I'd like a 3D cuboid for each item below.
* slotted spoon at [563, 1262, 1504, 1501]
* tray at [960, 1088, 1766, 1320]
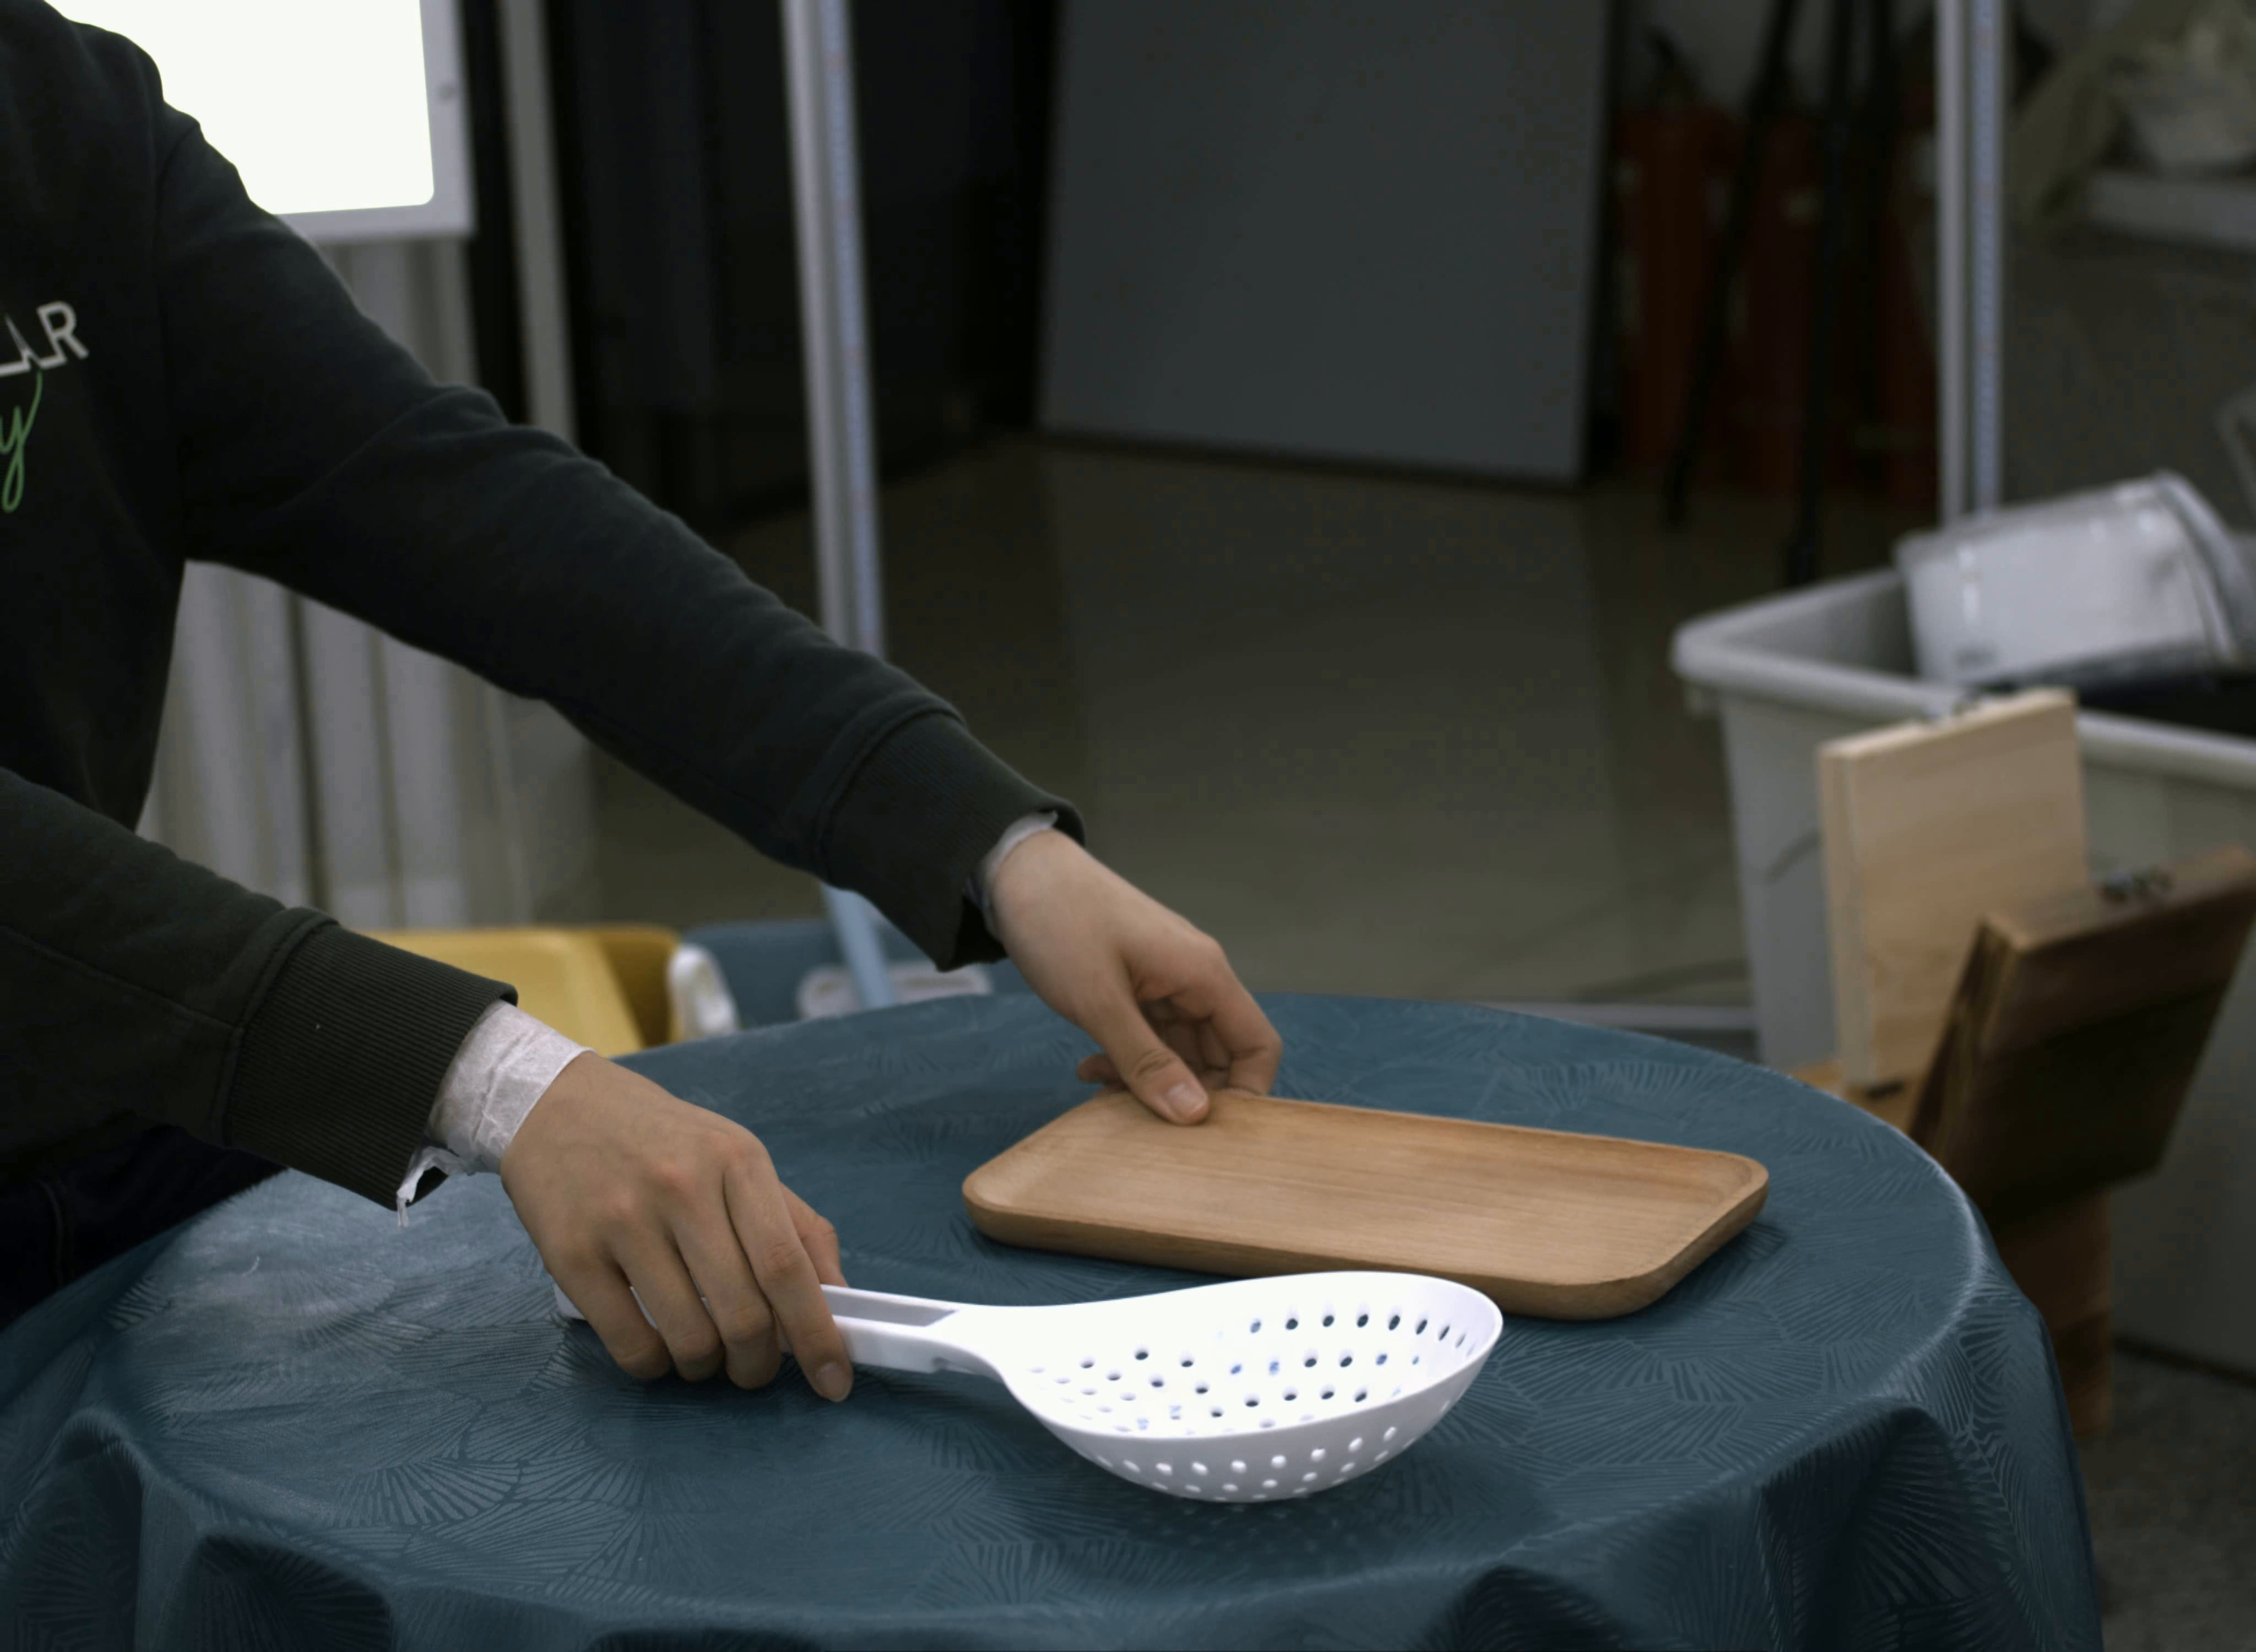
[{"bbox_3d":[-0.041,0.150,1.570,0.353,0.046,0.133,8,18,42],"label":"slotted spoon"},{"bbox_3d":[0.074,0.119,1.717,0.252,0.023,0.128,4,15,32],"label":"tray"}]
